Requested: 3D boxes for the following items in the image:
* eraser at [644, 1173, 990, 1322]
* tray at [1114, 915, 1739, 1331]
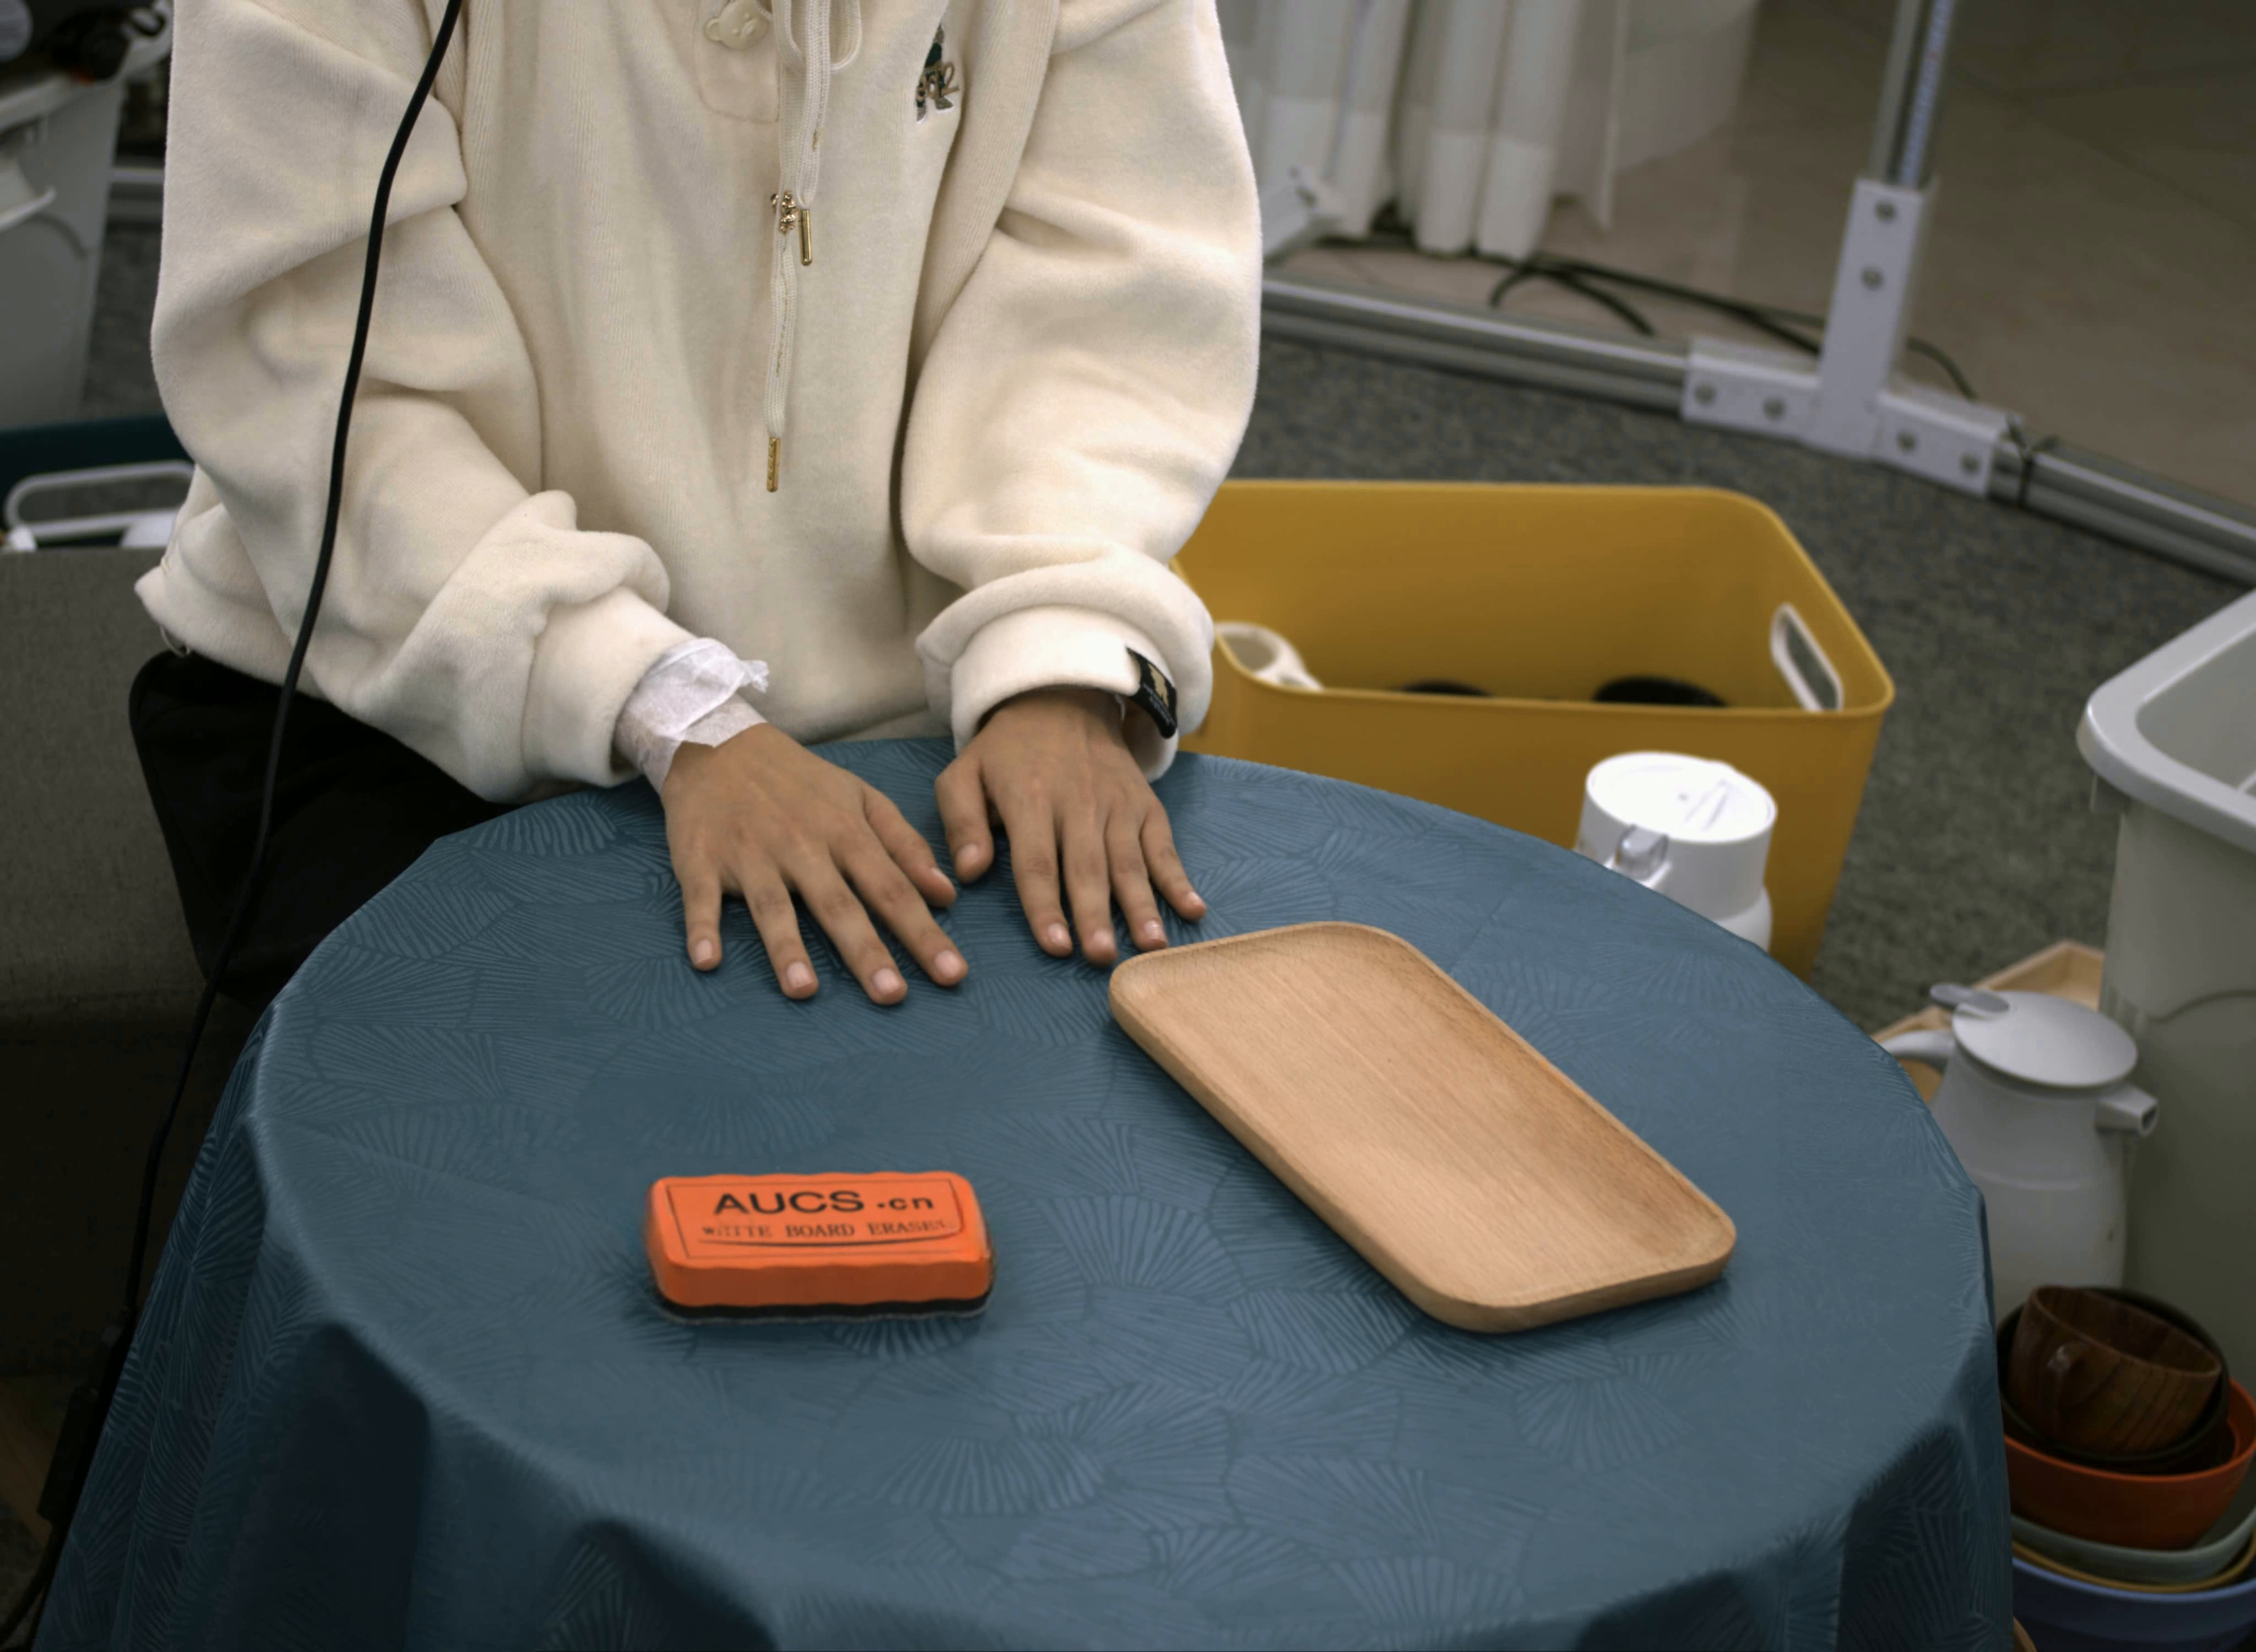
[{"bbox_3d":[-0.101,0.137,1.727,0.107,0.023,0.059,0,28,-13],"label":"eraser"},{"bbox_3d":[0.100,0.100,1.850,0.129,0.023,0.253,-6,29,-29],"label":"tray"}]
